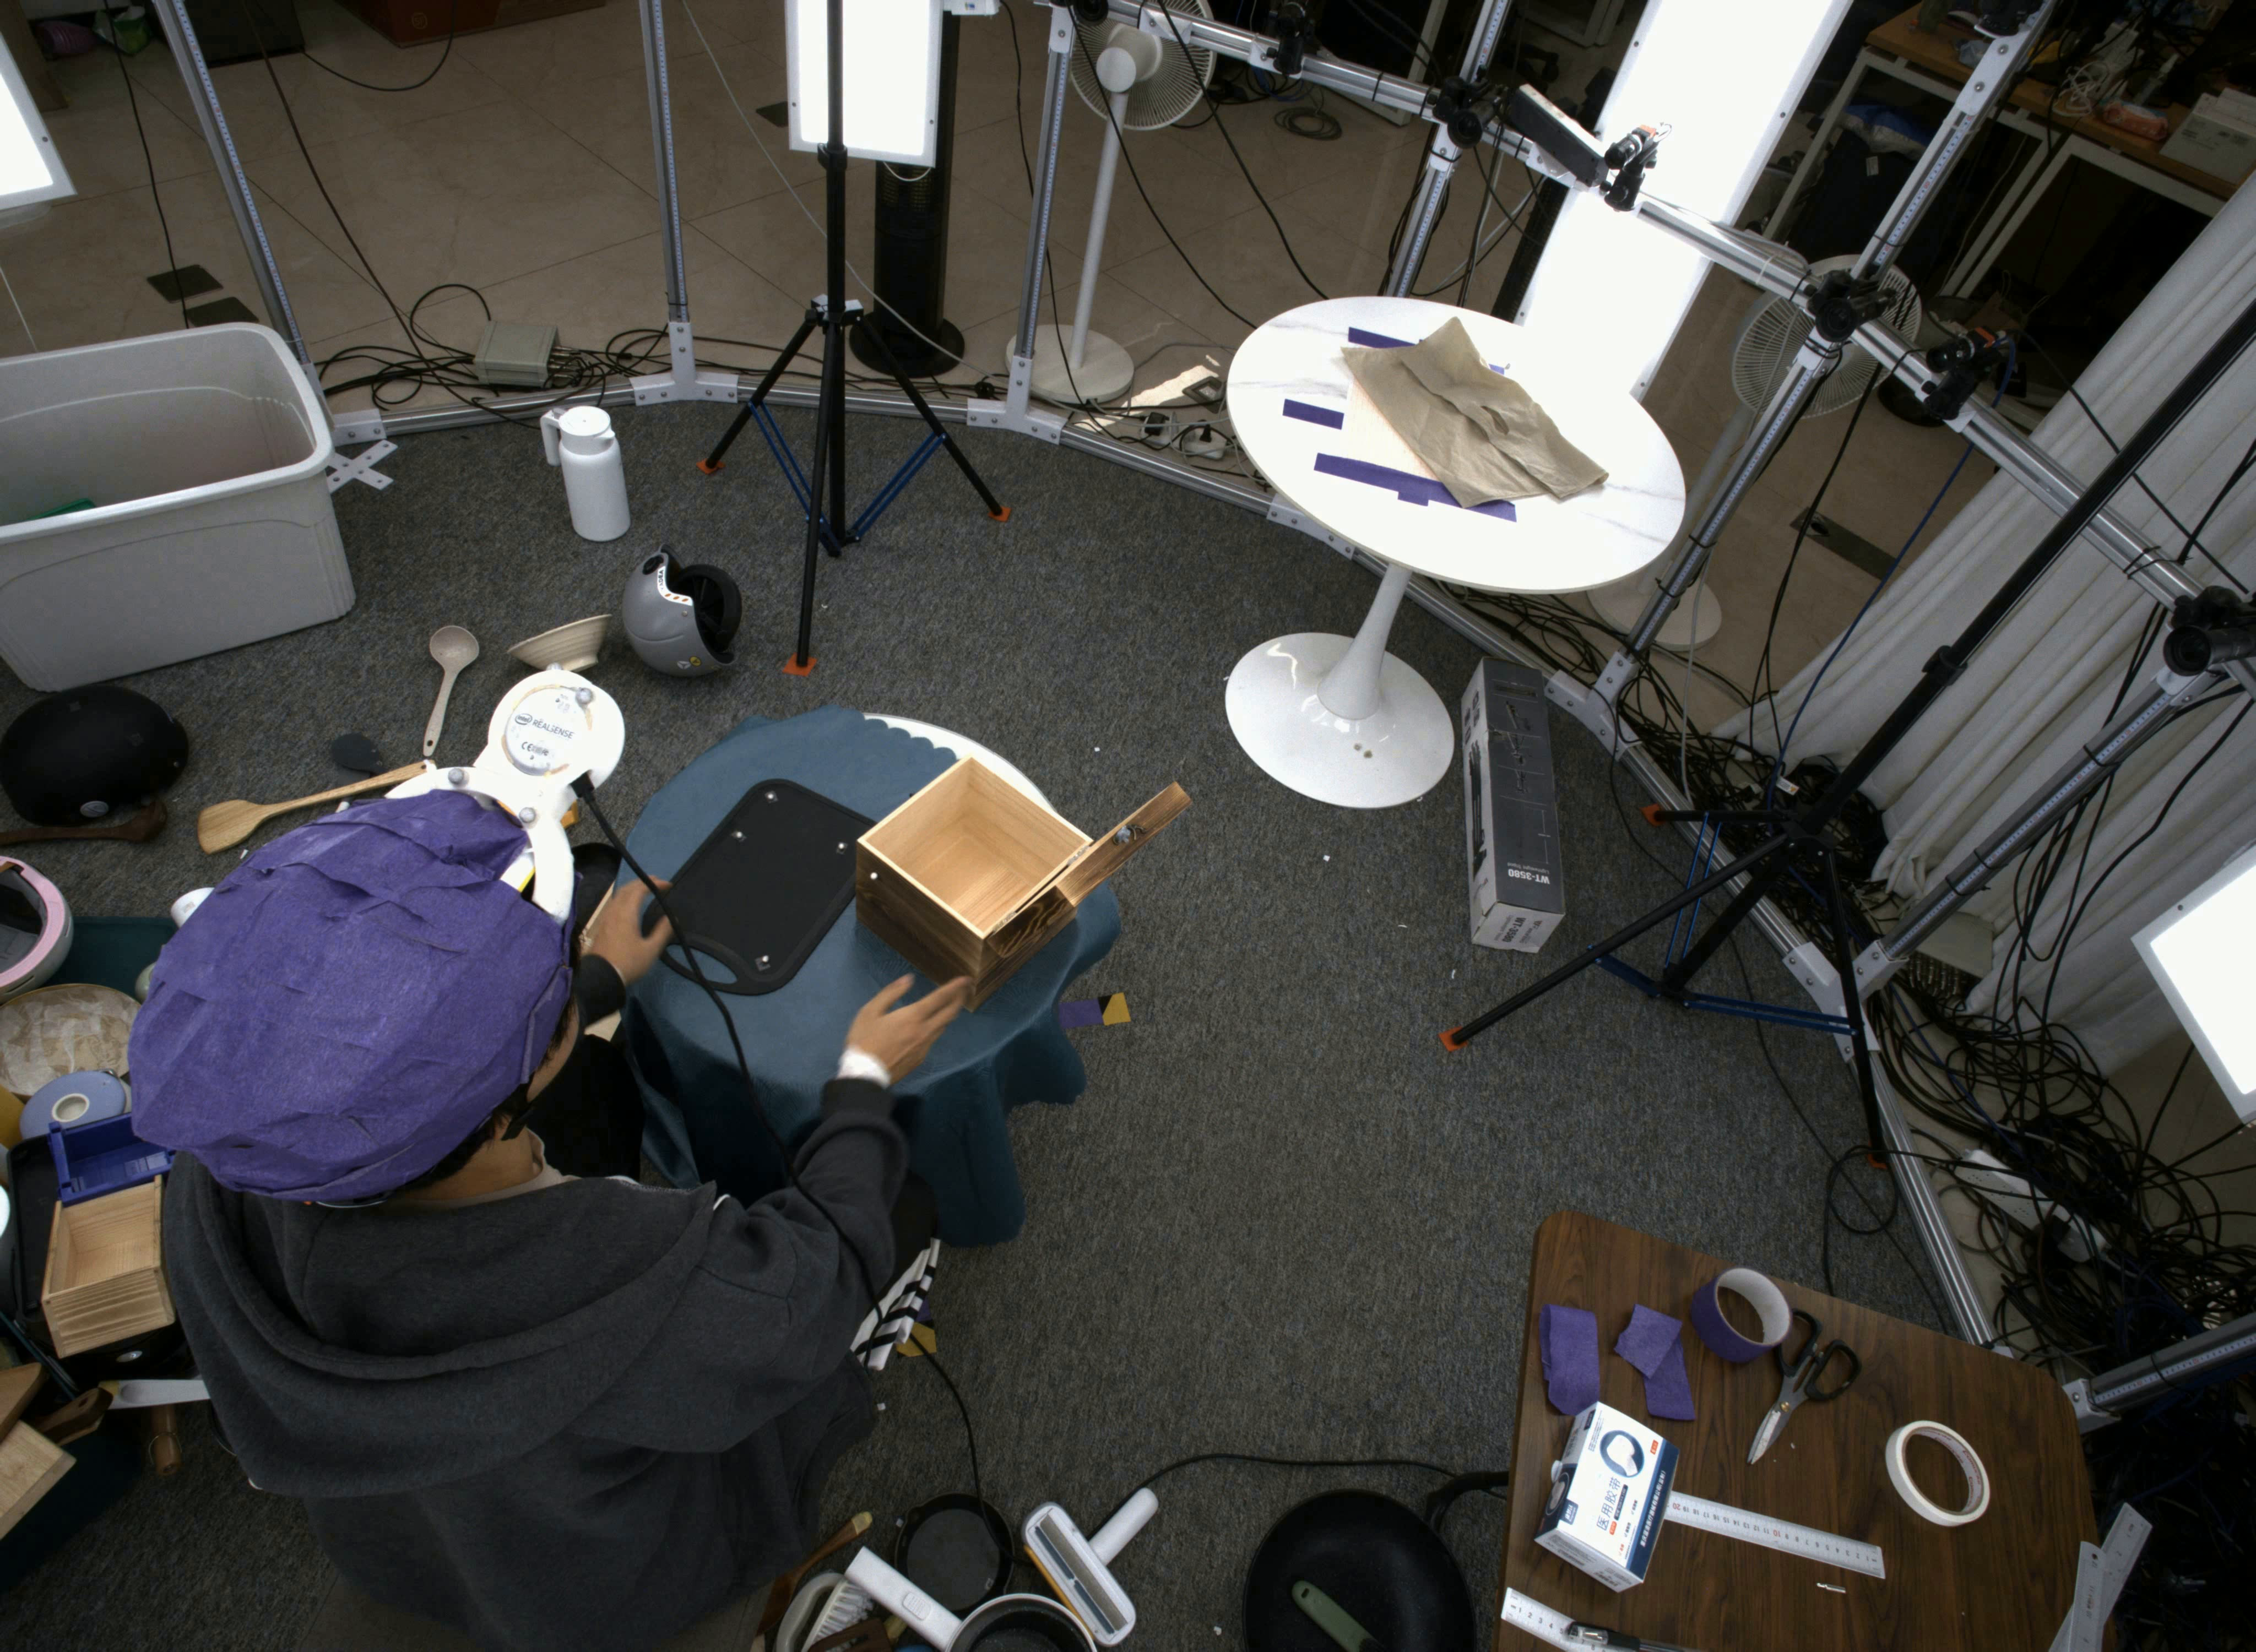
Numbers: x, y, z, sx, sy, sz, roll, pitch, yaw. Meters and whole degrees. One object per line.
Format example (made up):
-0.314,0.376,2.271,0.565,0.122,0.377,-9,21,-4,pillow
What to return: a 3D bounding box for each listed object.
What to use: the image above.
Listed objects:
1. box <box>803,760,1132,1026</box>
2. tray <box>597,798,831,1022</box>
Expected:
-0.196,0.043,1.523,0.316,0.383,0.208,32,52,12,box
-0.519,0.100,1.626,0.208,0.010,0.323,23,52,3,tray
